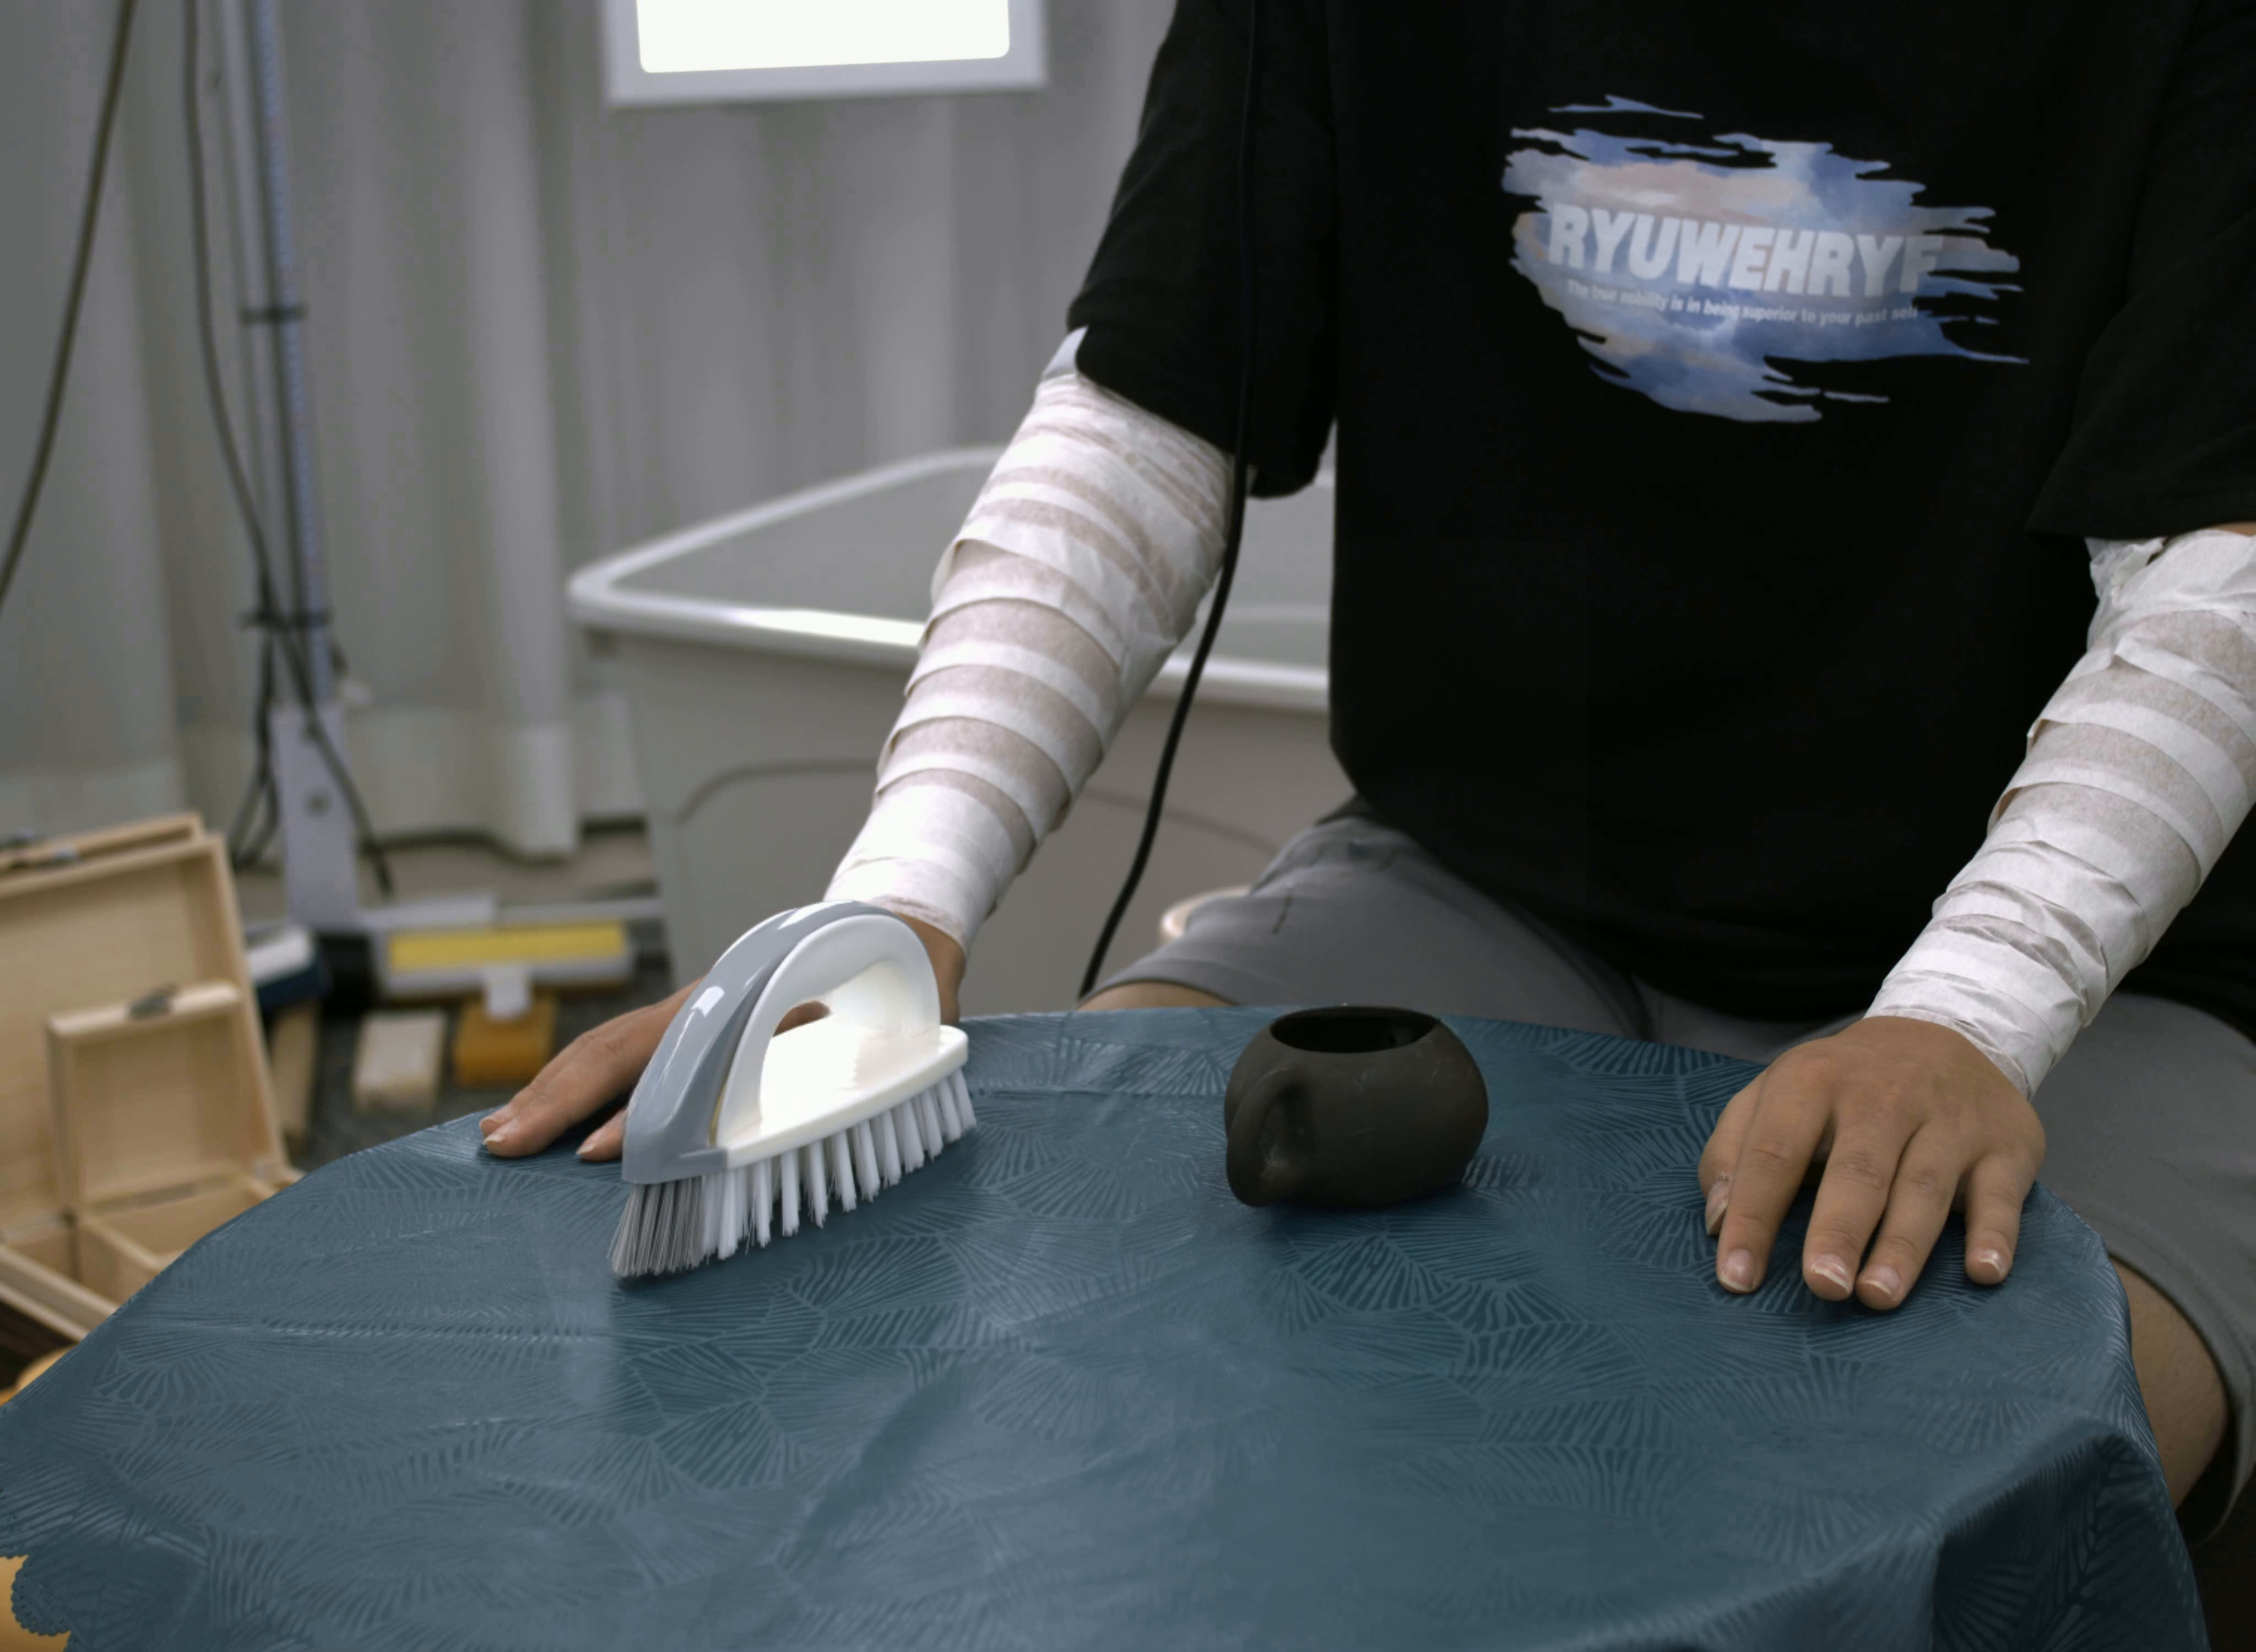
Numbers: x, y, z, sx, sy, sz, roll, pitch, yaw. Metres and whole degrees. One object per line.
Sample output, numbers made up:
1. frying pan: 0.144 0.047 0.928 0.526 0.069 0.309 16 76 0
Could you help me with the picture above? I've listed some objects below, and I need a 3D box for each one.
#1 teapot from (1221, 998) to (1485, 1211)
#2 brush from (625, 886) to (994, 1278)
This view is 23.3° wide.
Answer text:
1. teapot: 0.063 0.089 1.698 0.083 0.053 0.114 8 16 34
2. brush: -0.108 0.075 1.706 0.061 0.094 0.176 2 16 30
